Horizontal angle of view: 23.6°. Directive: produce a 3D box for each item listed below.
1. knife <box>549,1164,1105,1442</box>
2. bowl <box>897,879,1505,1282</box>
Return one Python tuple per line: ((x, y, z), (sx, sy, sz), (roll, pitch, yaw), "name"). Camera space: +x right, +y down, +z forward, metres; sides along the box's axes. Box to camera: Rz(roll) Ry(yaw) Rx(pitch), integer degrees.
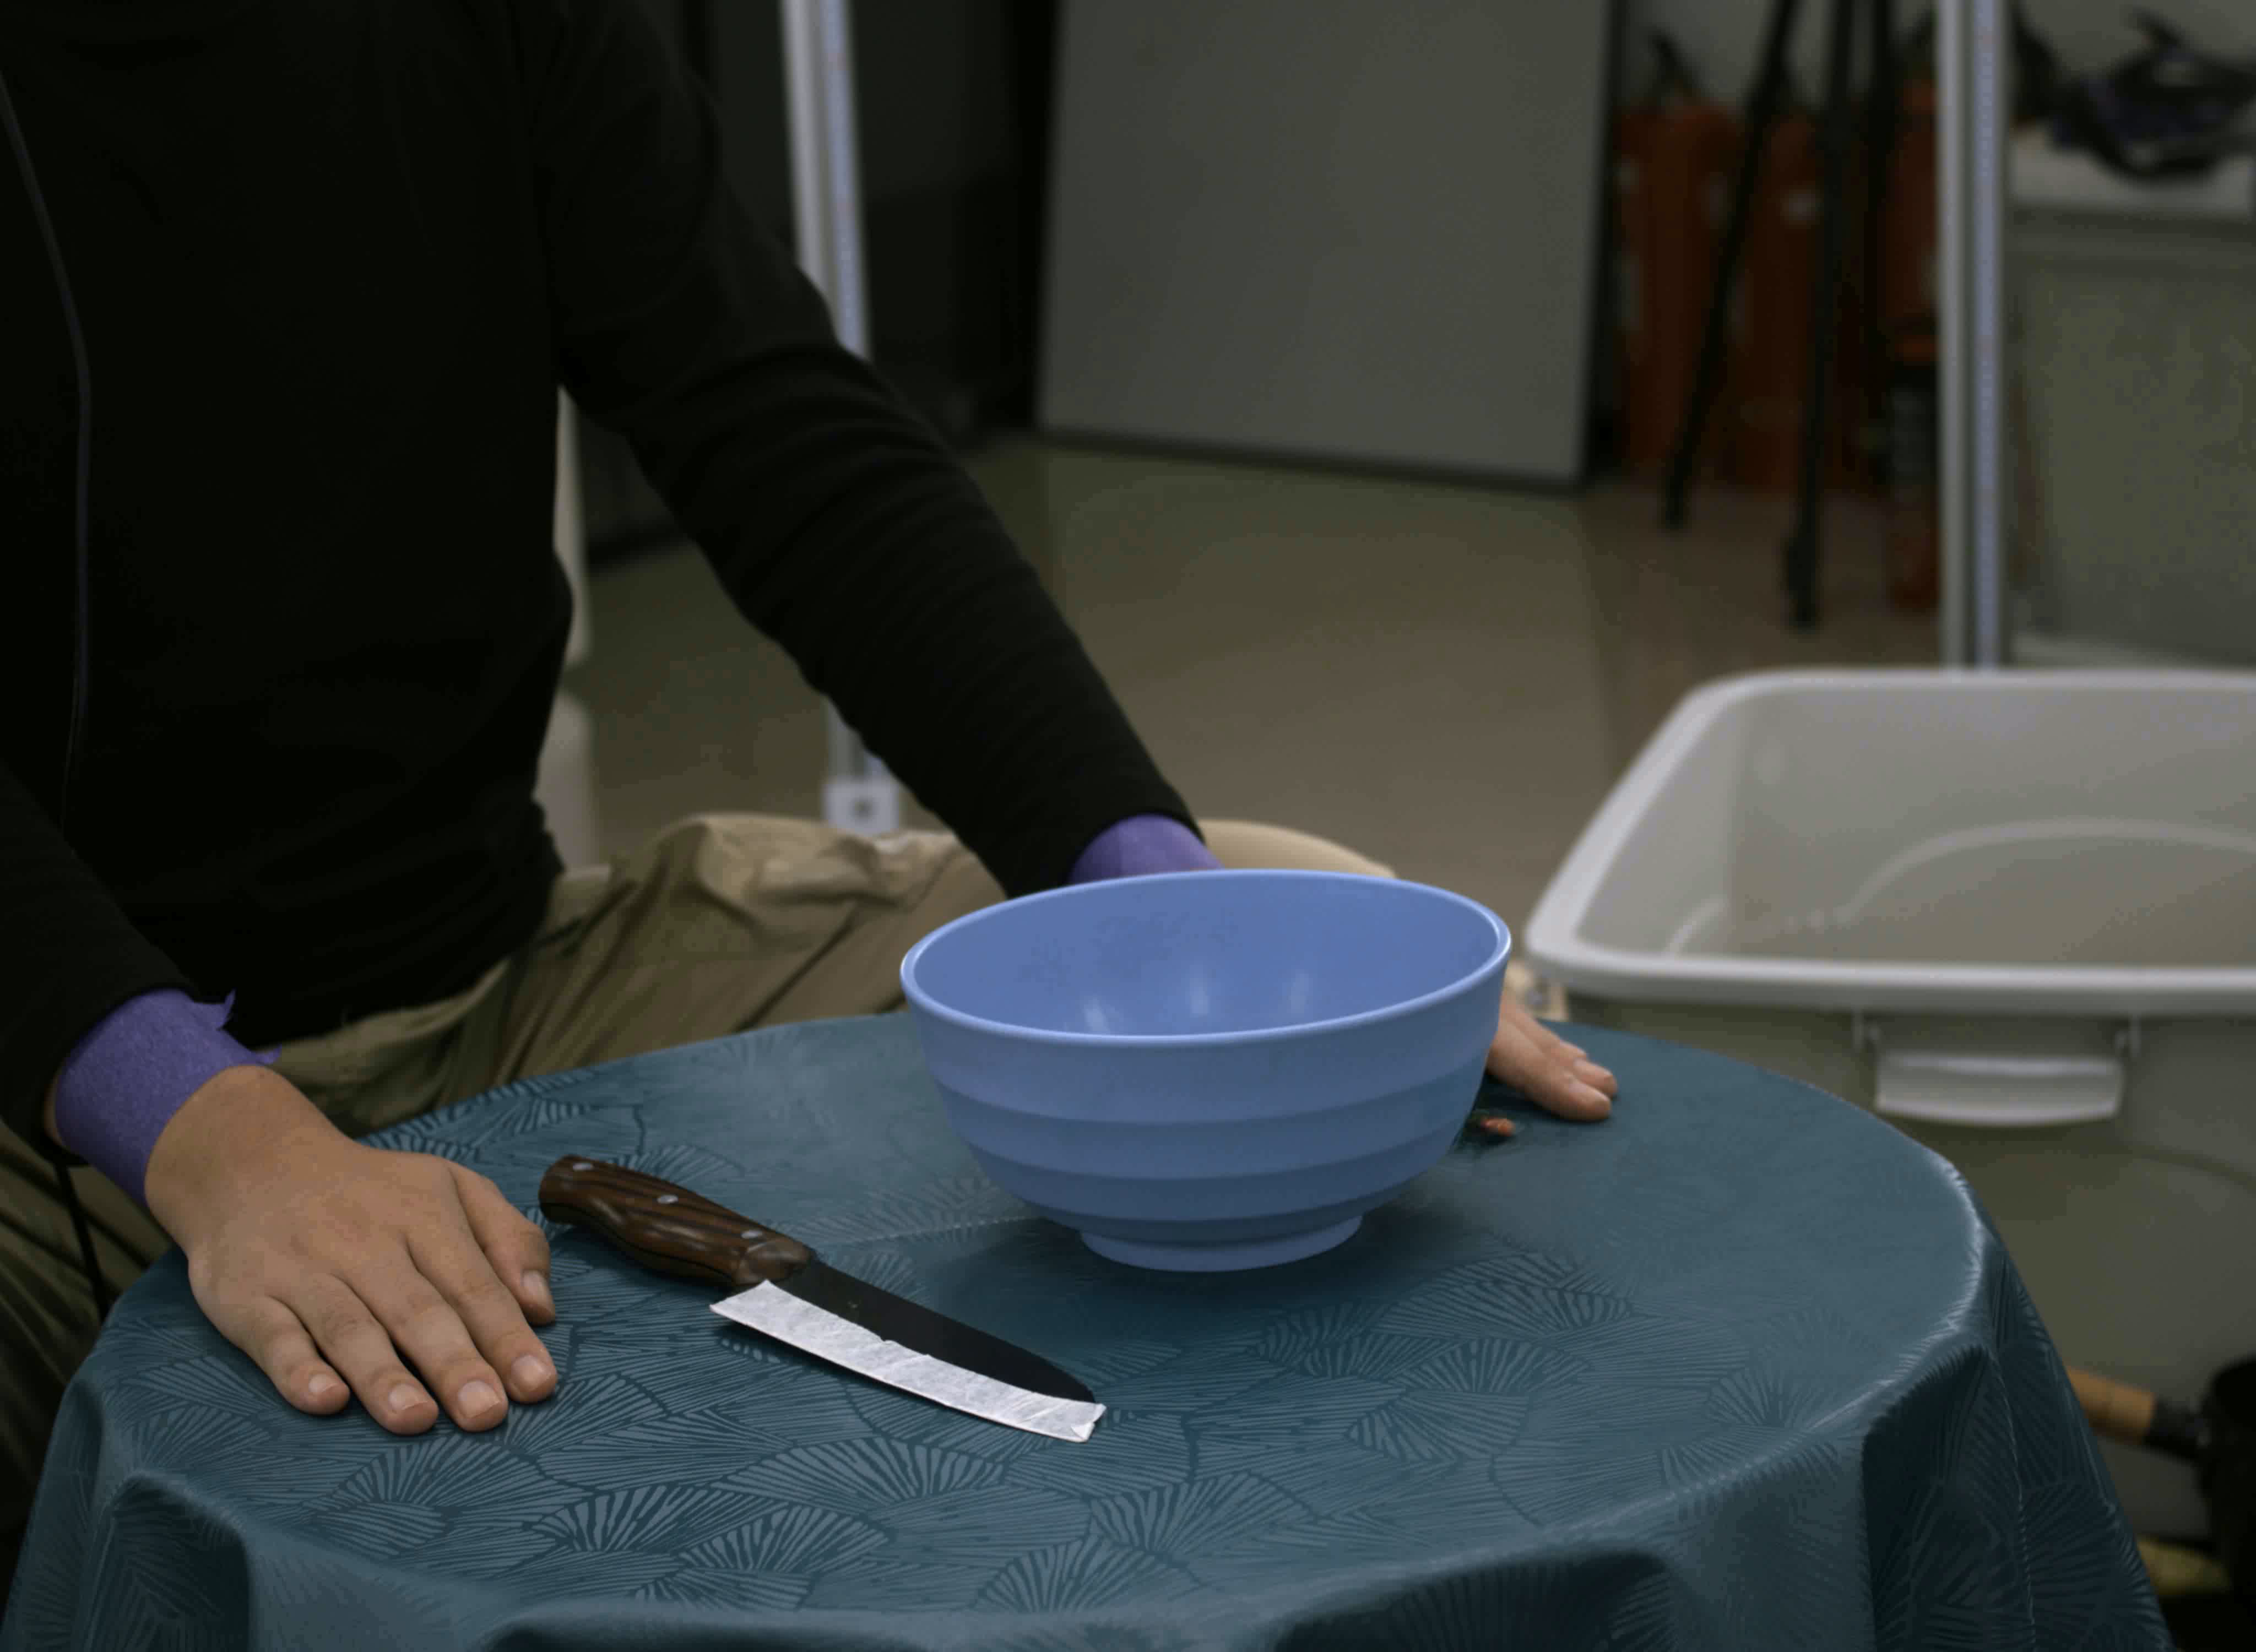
((-0.096, 0.148, 1.665), (0.049, 0.020, 0.292), (-19, 22, -33), "knife")
((0.027, 0.086, 1.721), (0.194, 0.096, 0.197), (-6, 12, 0), "bowl")
